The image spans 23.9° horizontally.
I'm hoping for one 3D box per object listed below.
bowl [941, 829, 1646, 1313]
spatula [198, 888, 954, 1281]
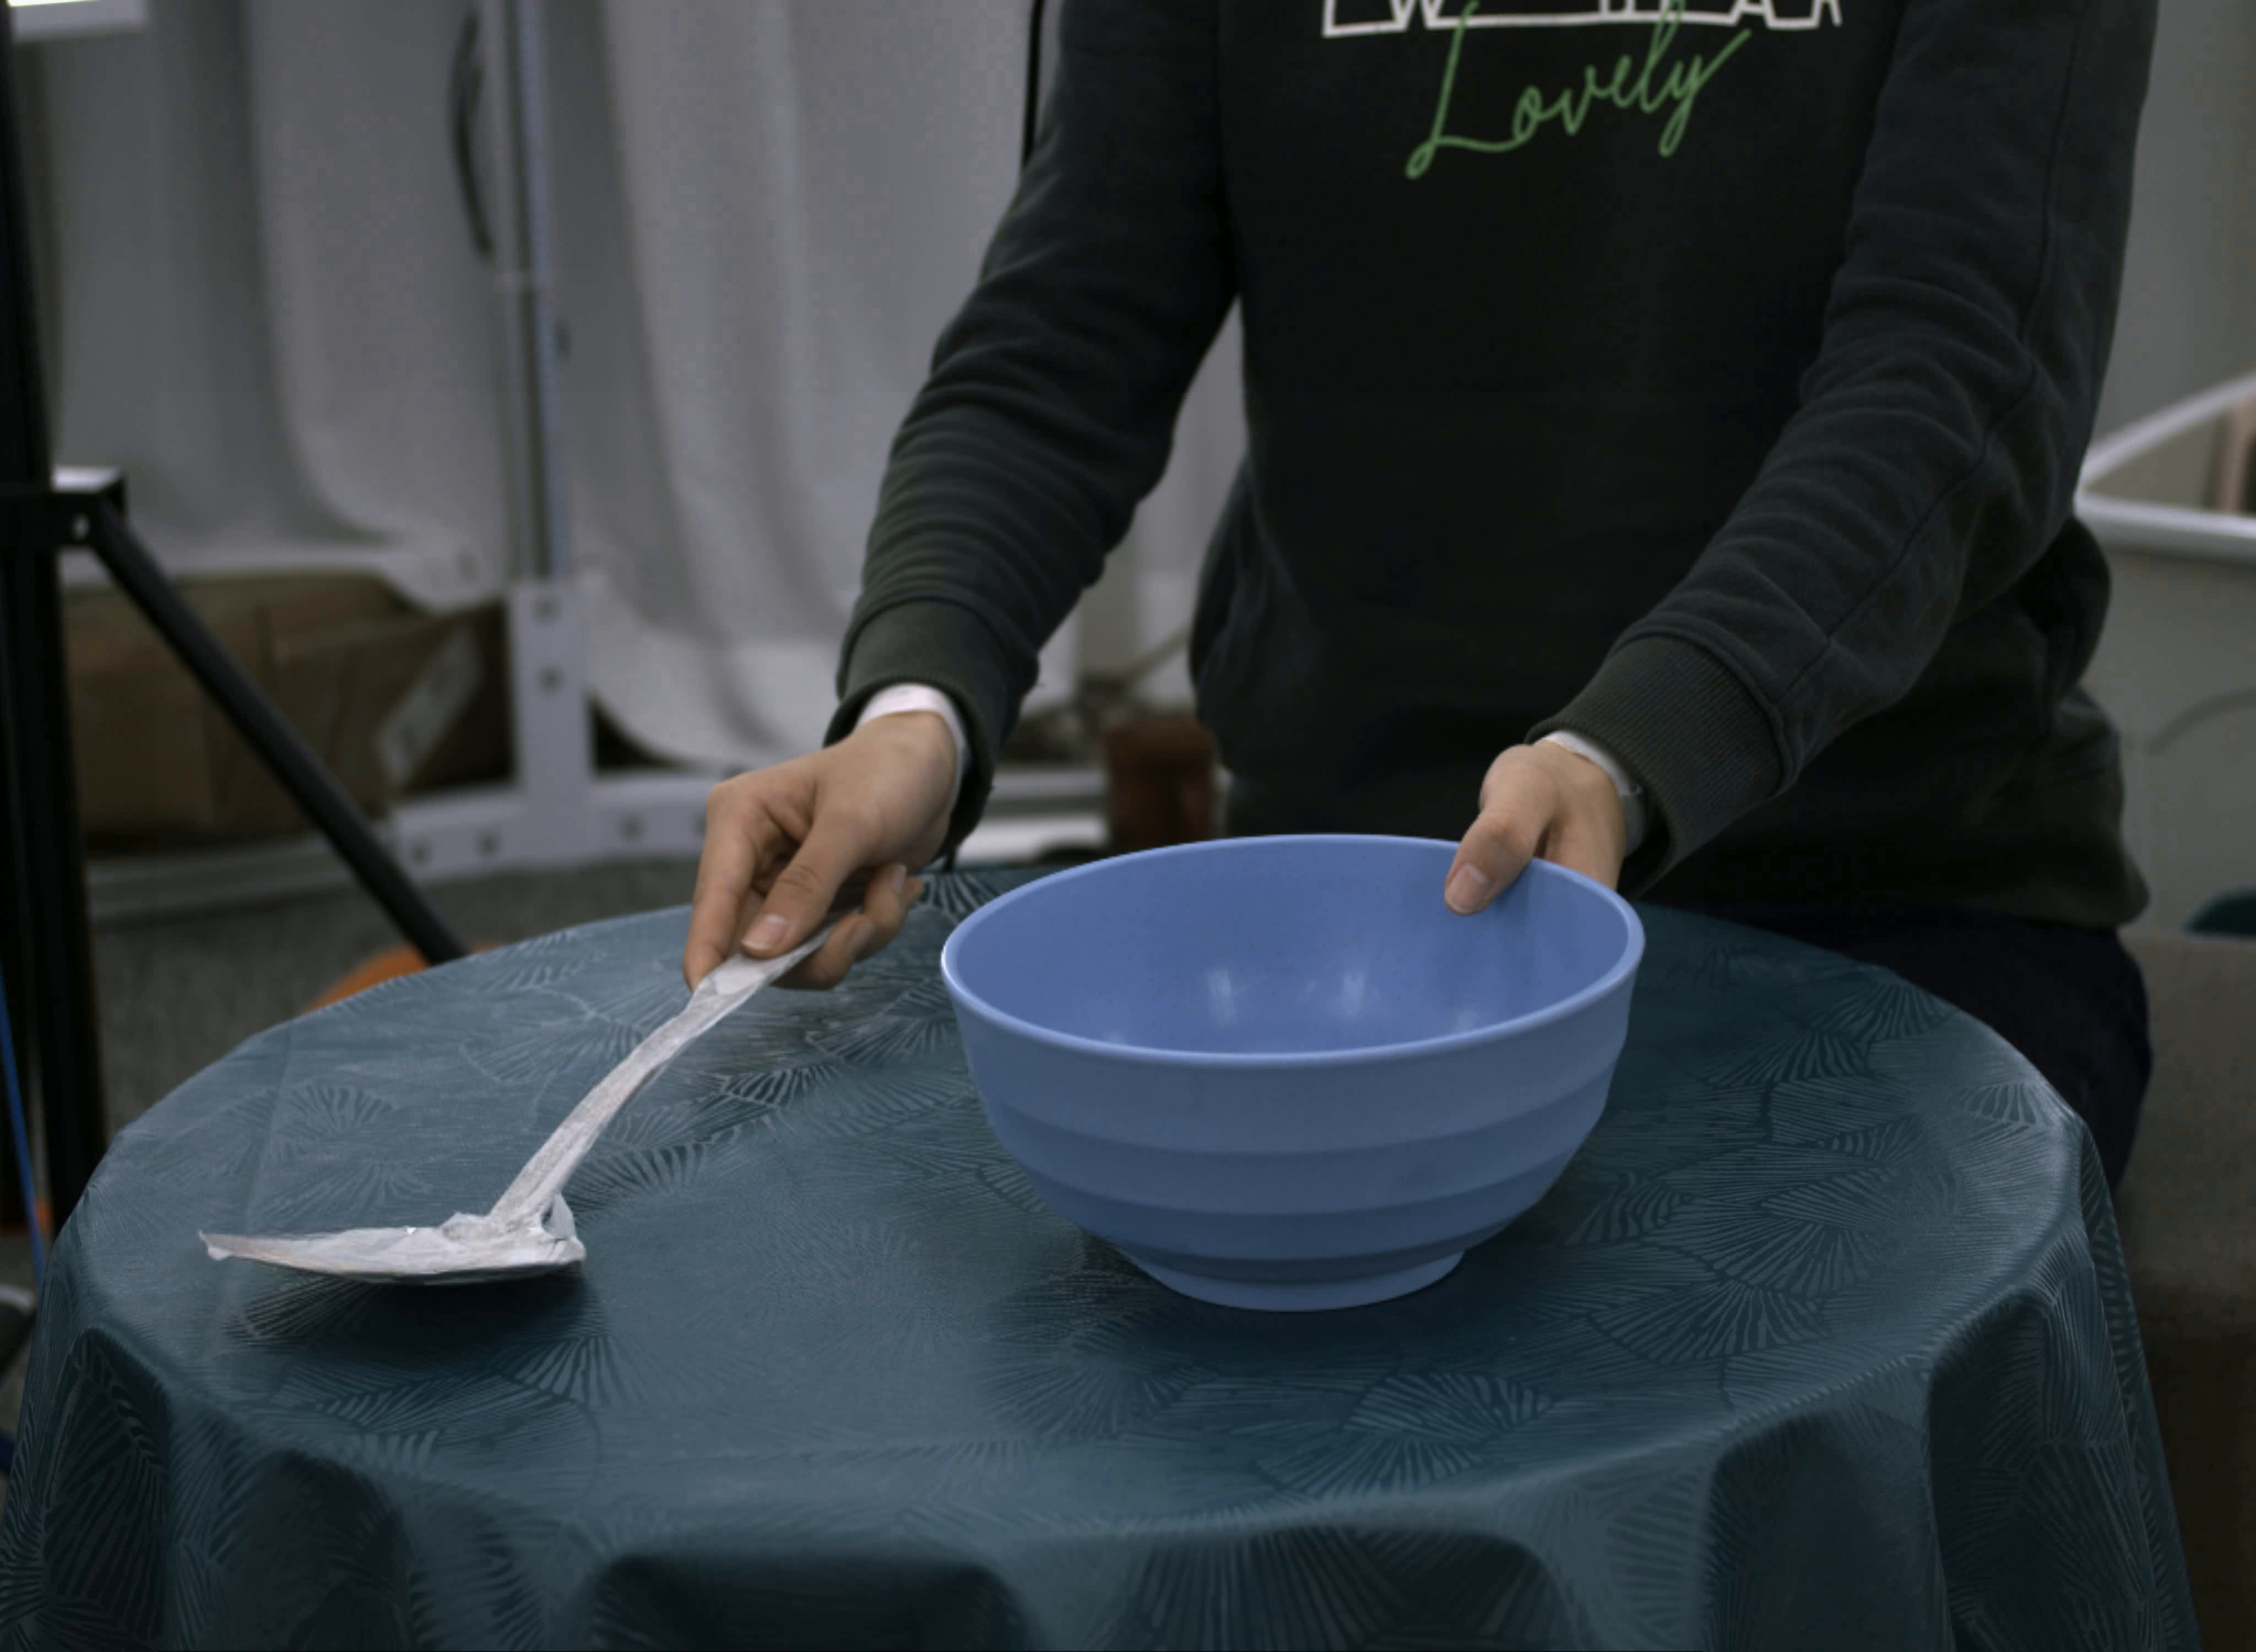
[{"bbox_3d":[0.049,0.075,1.485,0.195,0.095,0.197,-5,18,0],"label":"bowl"},{"bbox_3d":[-0.144,0.070,1.602,0.100,0.044,0.360,0,22,27],"label":"spatula"}]
